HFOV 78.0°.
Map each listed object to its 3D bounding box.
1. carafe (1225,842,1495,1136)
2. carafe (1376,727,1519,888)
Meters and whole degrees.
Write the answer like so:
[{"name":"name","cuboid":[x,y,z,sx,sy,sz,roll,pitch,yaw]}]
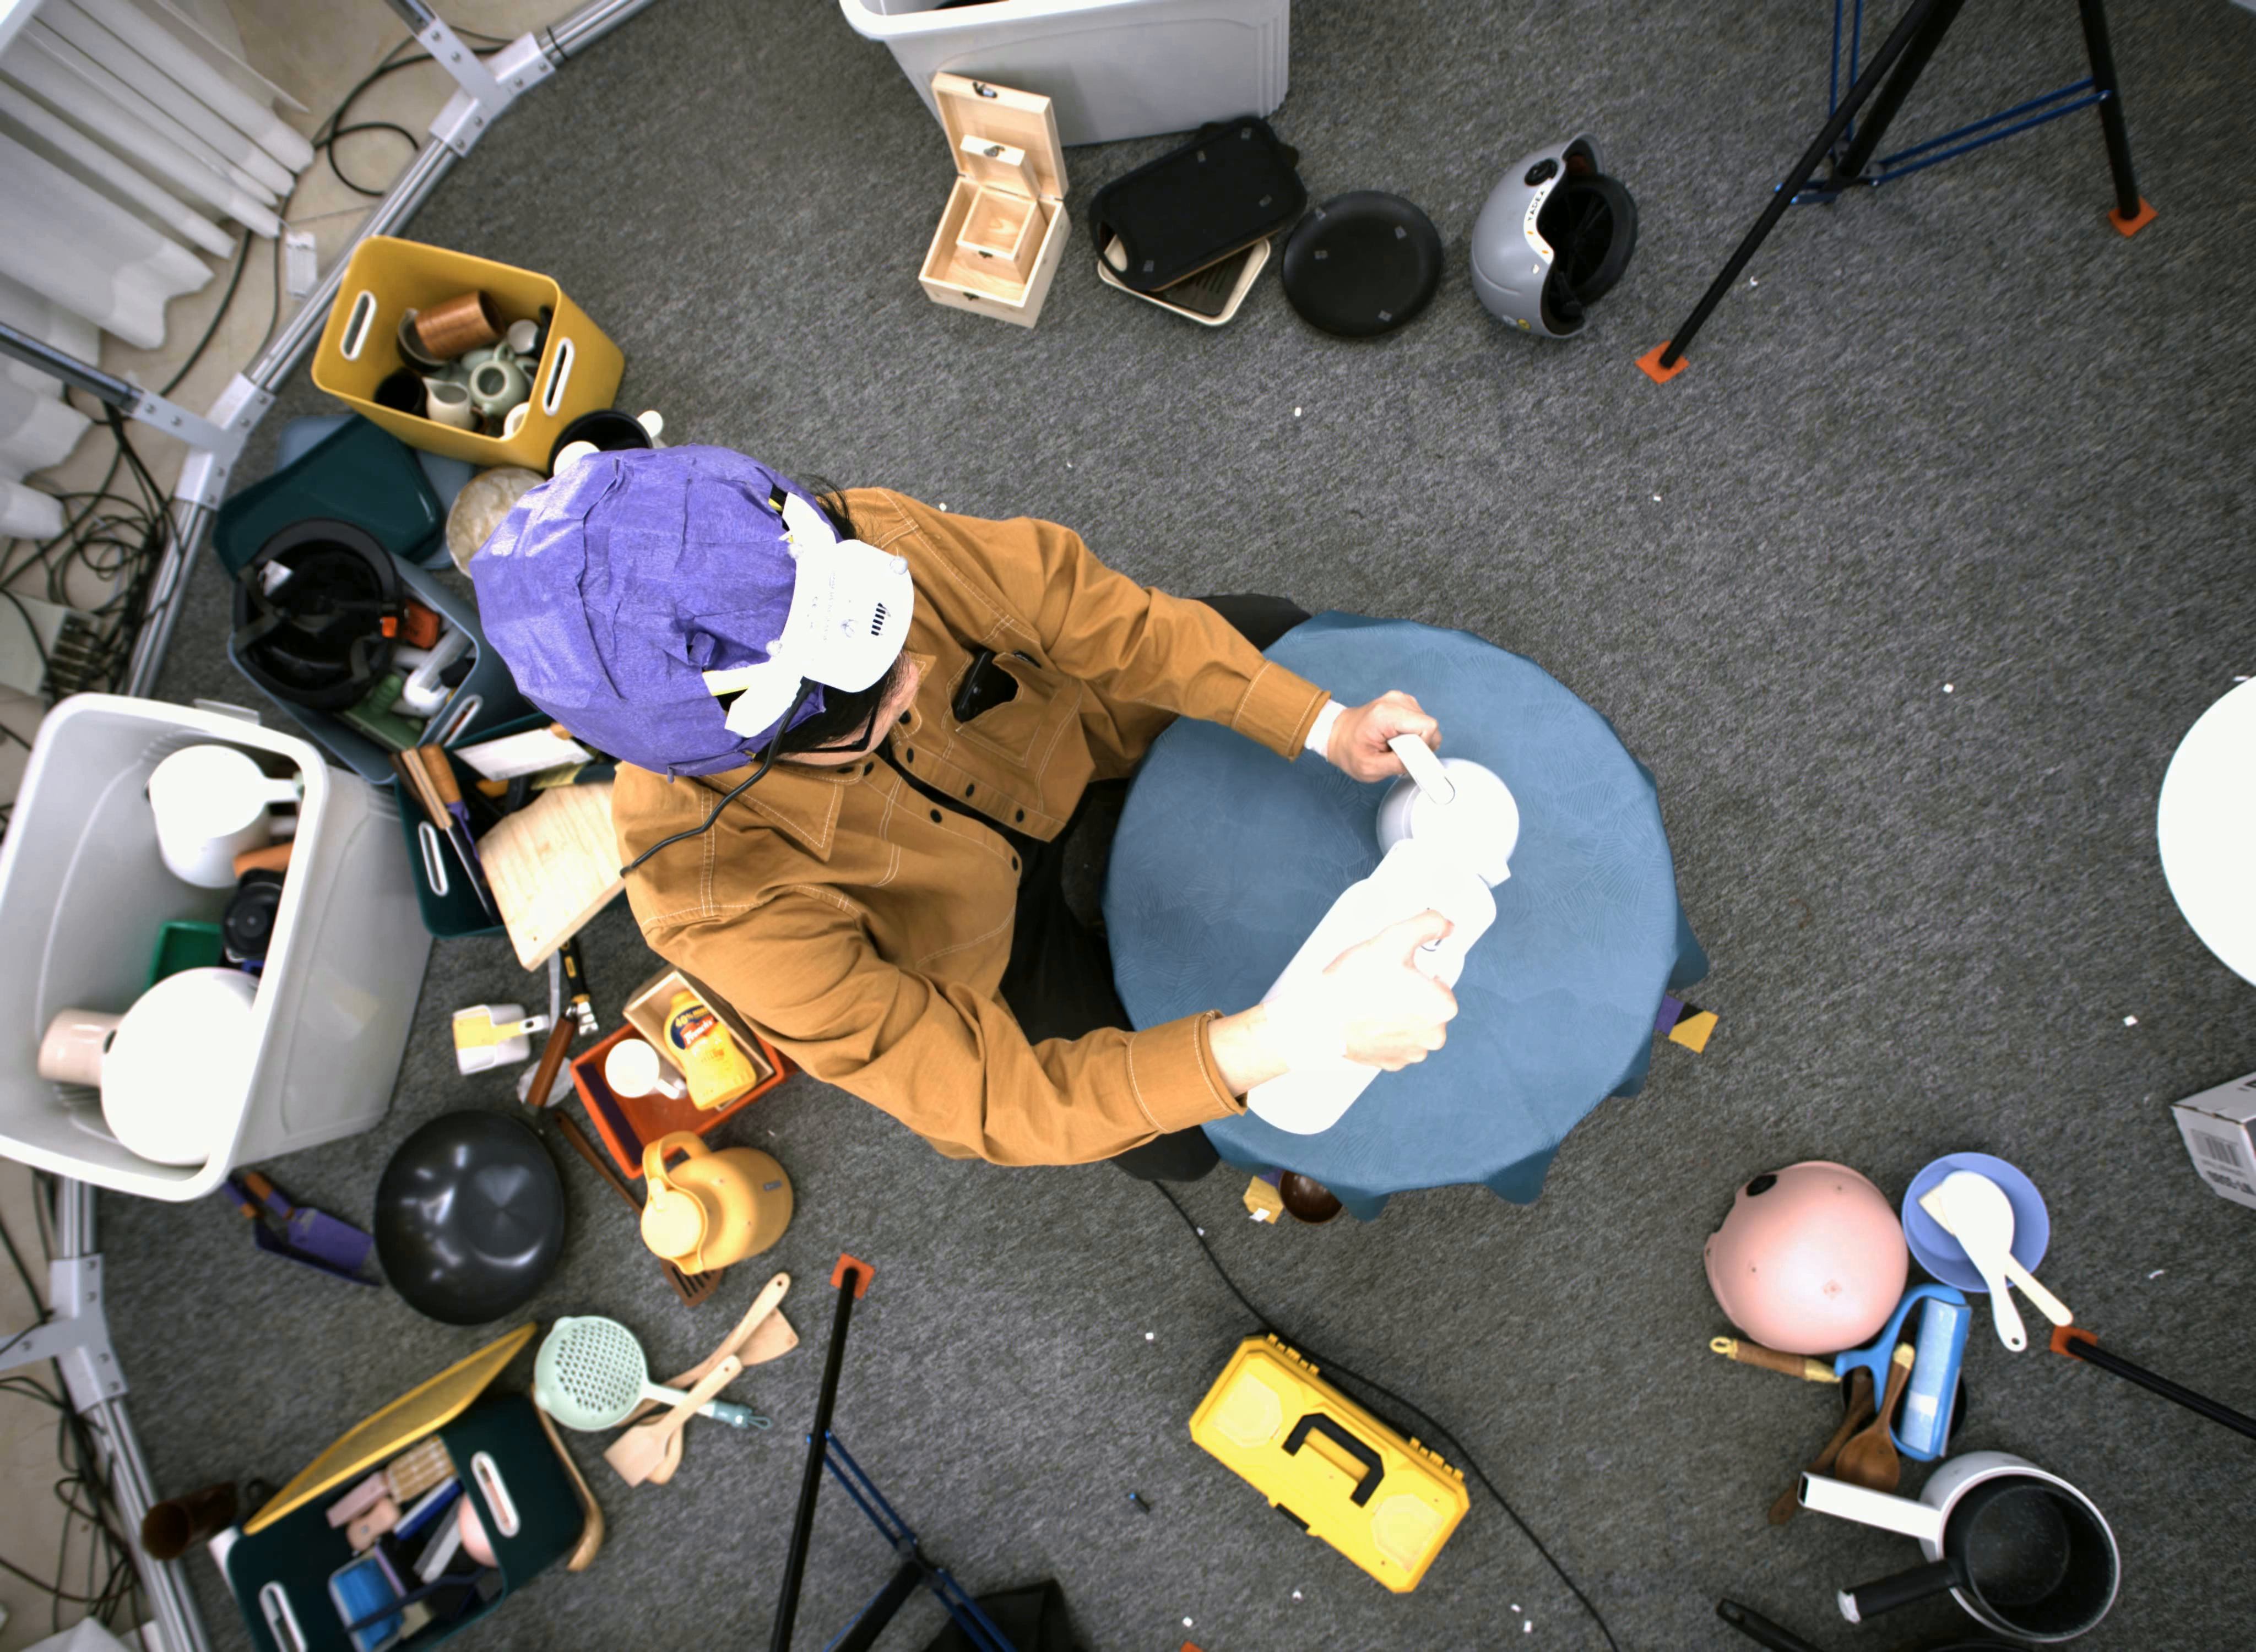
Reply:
[{"name":"carafe","cuboid":[0.188,0.149,1.157,0.124,0.168,0.275,32,126,-2]},{"name":"carafe","cuboid":[0.294,-0.018,1.302,0.133,0.248,0.167,-34,85,7]}]
